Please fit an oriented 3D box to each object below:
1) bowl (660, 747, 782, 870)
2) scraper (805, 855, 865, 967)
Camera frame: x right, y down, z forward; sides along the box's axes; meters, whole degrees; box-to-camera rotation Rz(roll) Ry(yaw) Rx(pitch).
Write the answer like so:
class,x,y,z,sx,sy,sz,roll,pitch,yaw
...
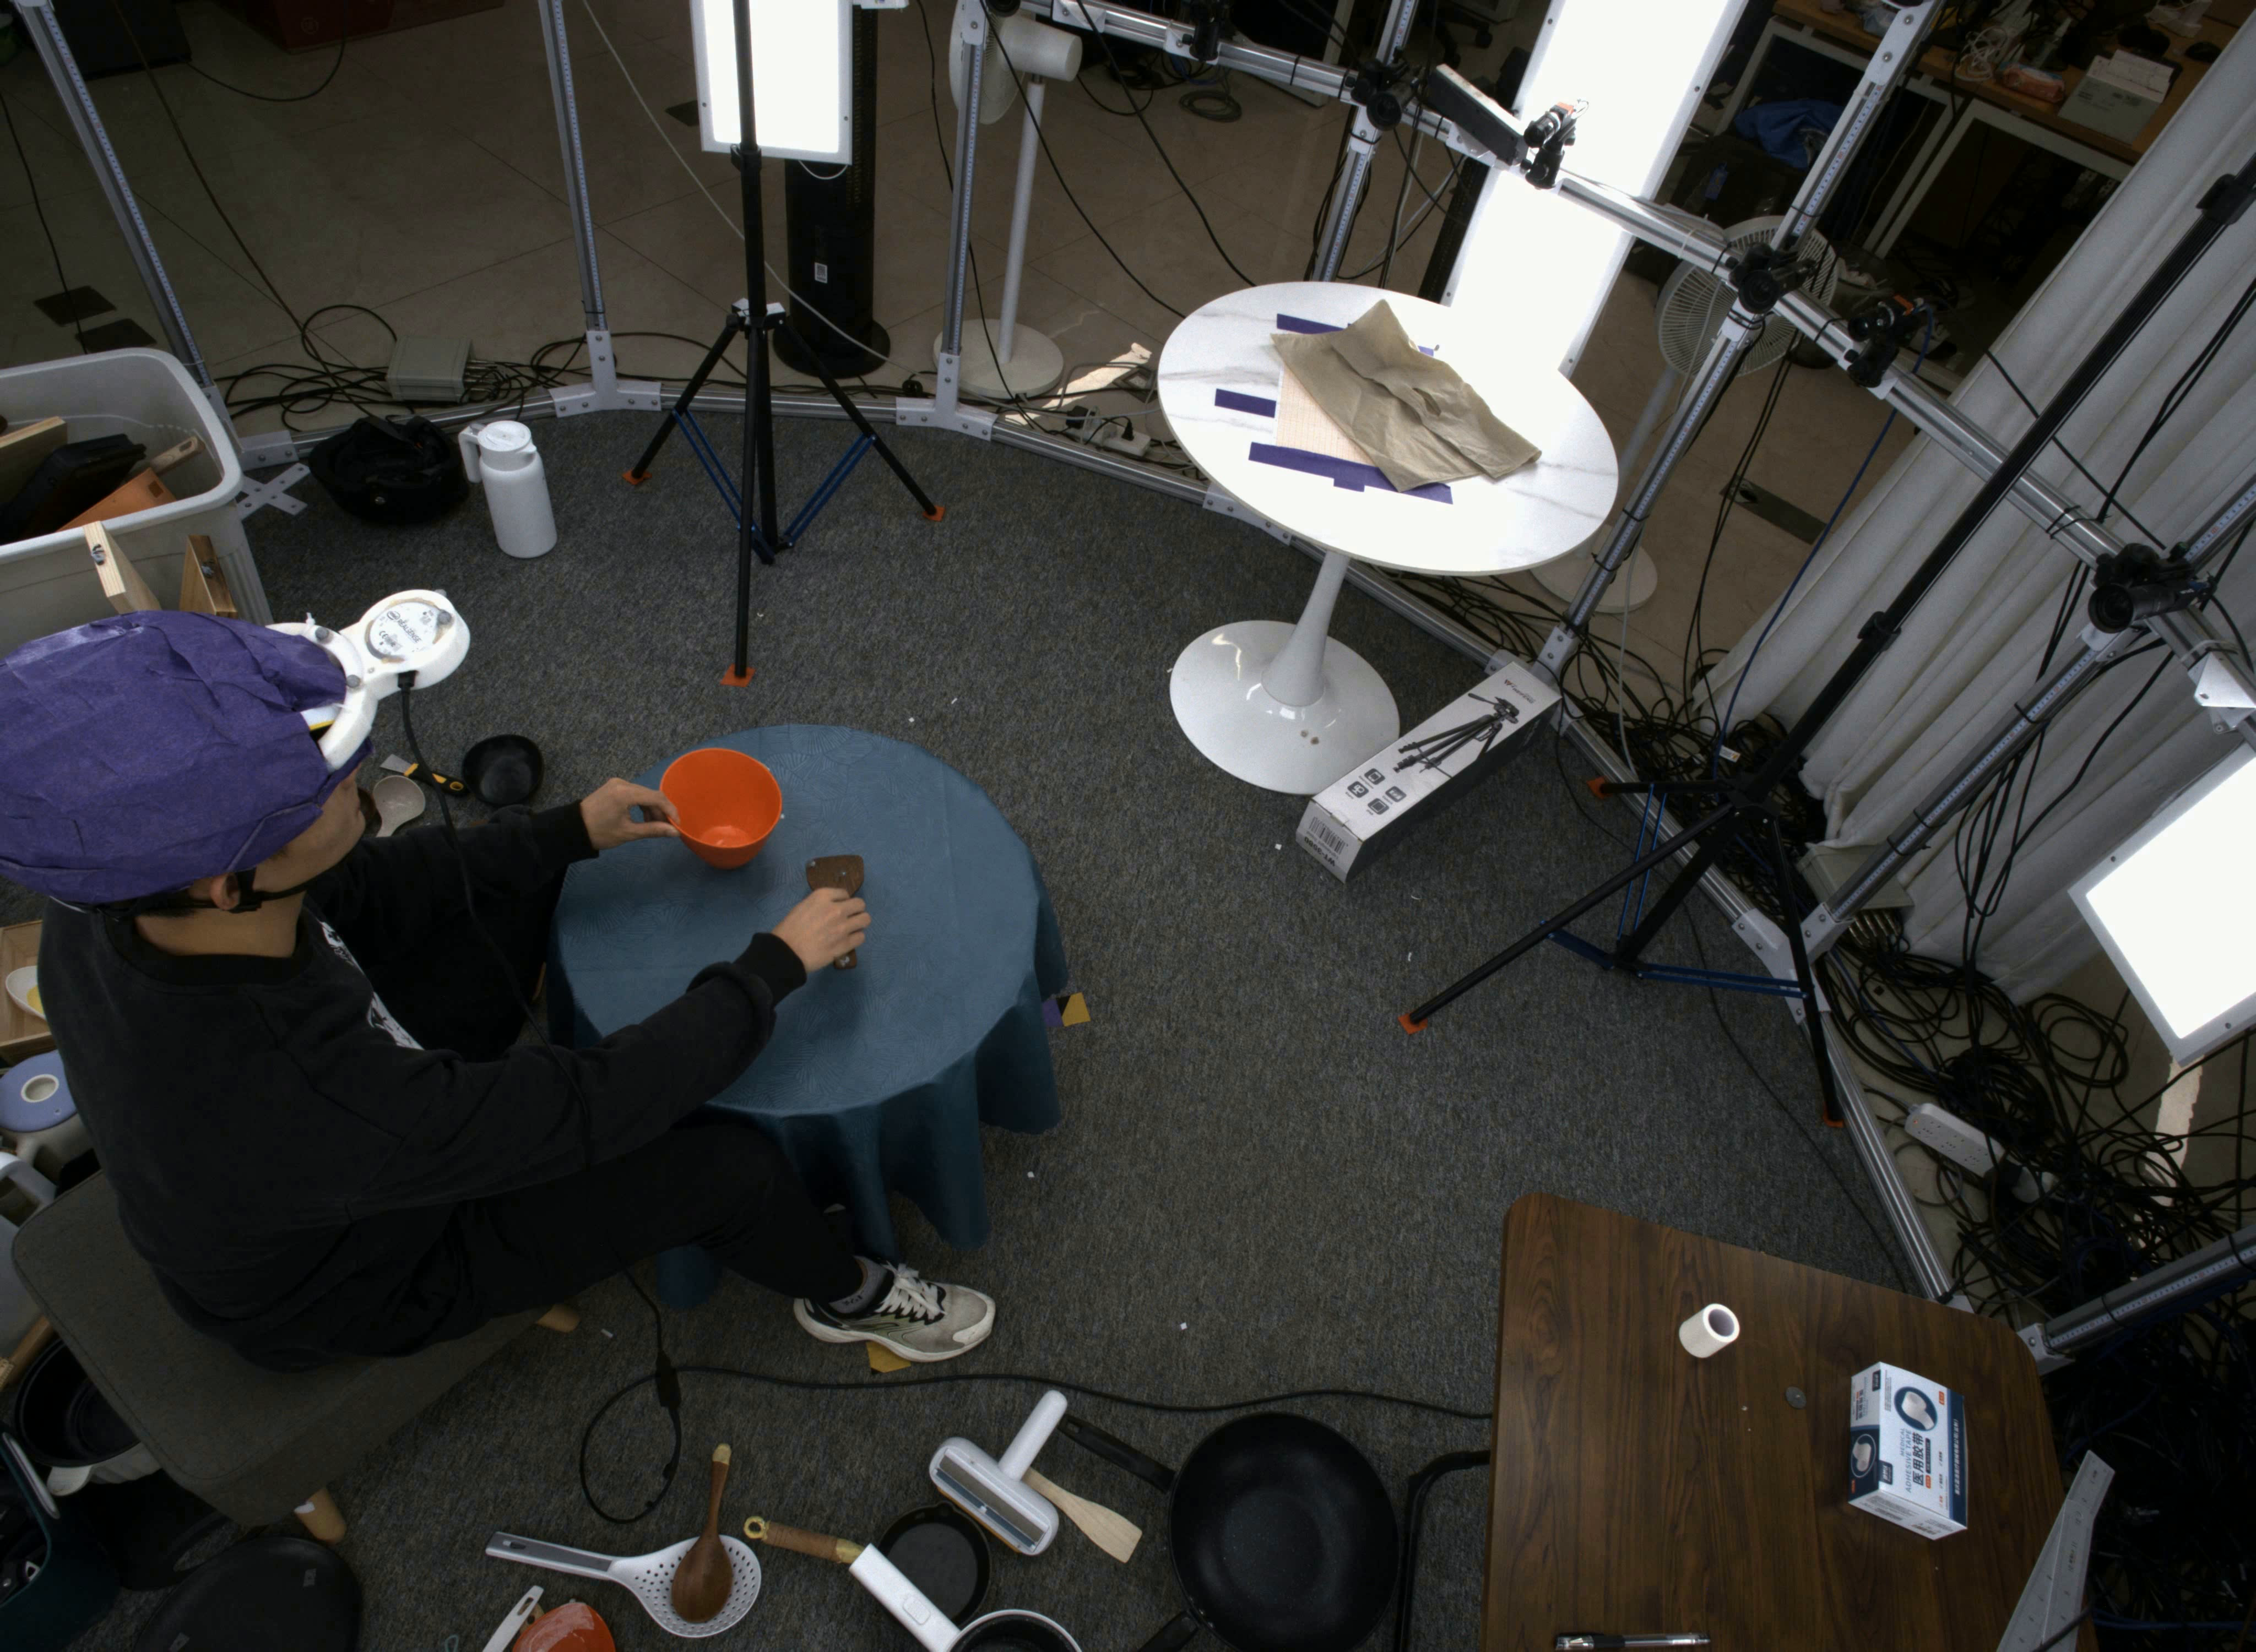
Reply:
class,x,y,z,sx,sy,sz,roll,pitch,yaw
bowl,-0.512,-0.012,1.626,0.148,0.106,0.145,11,47,-10
scraper,-0.353,0.100,1.586,0.076,0.011,0.205,-4,37,-14
